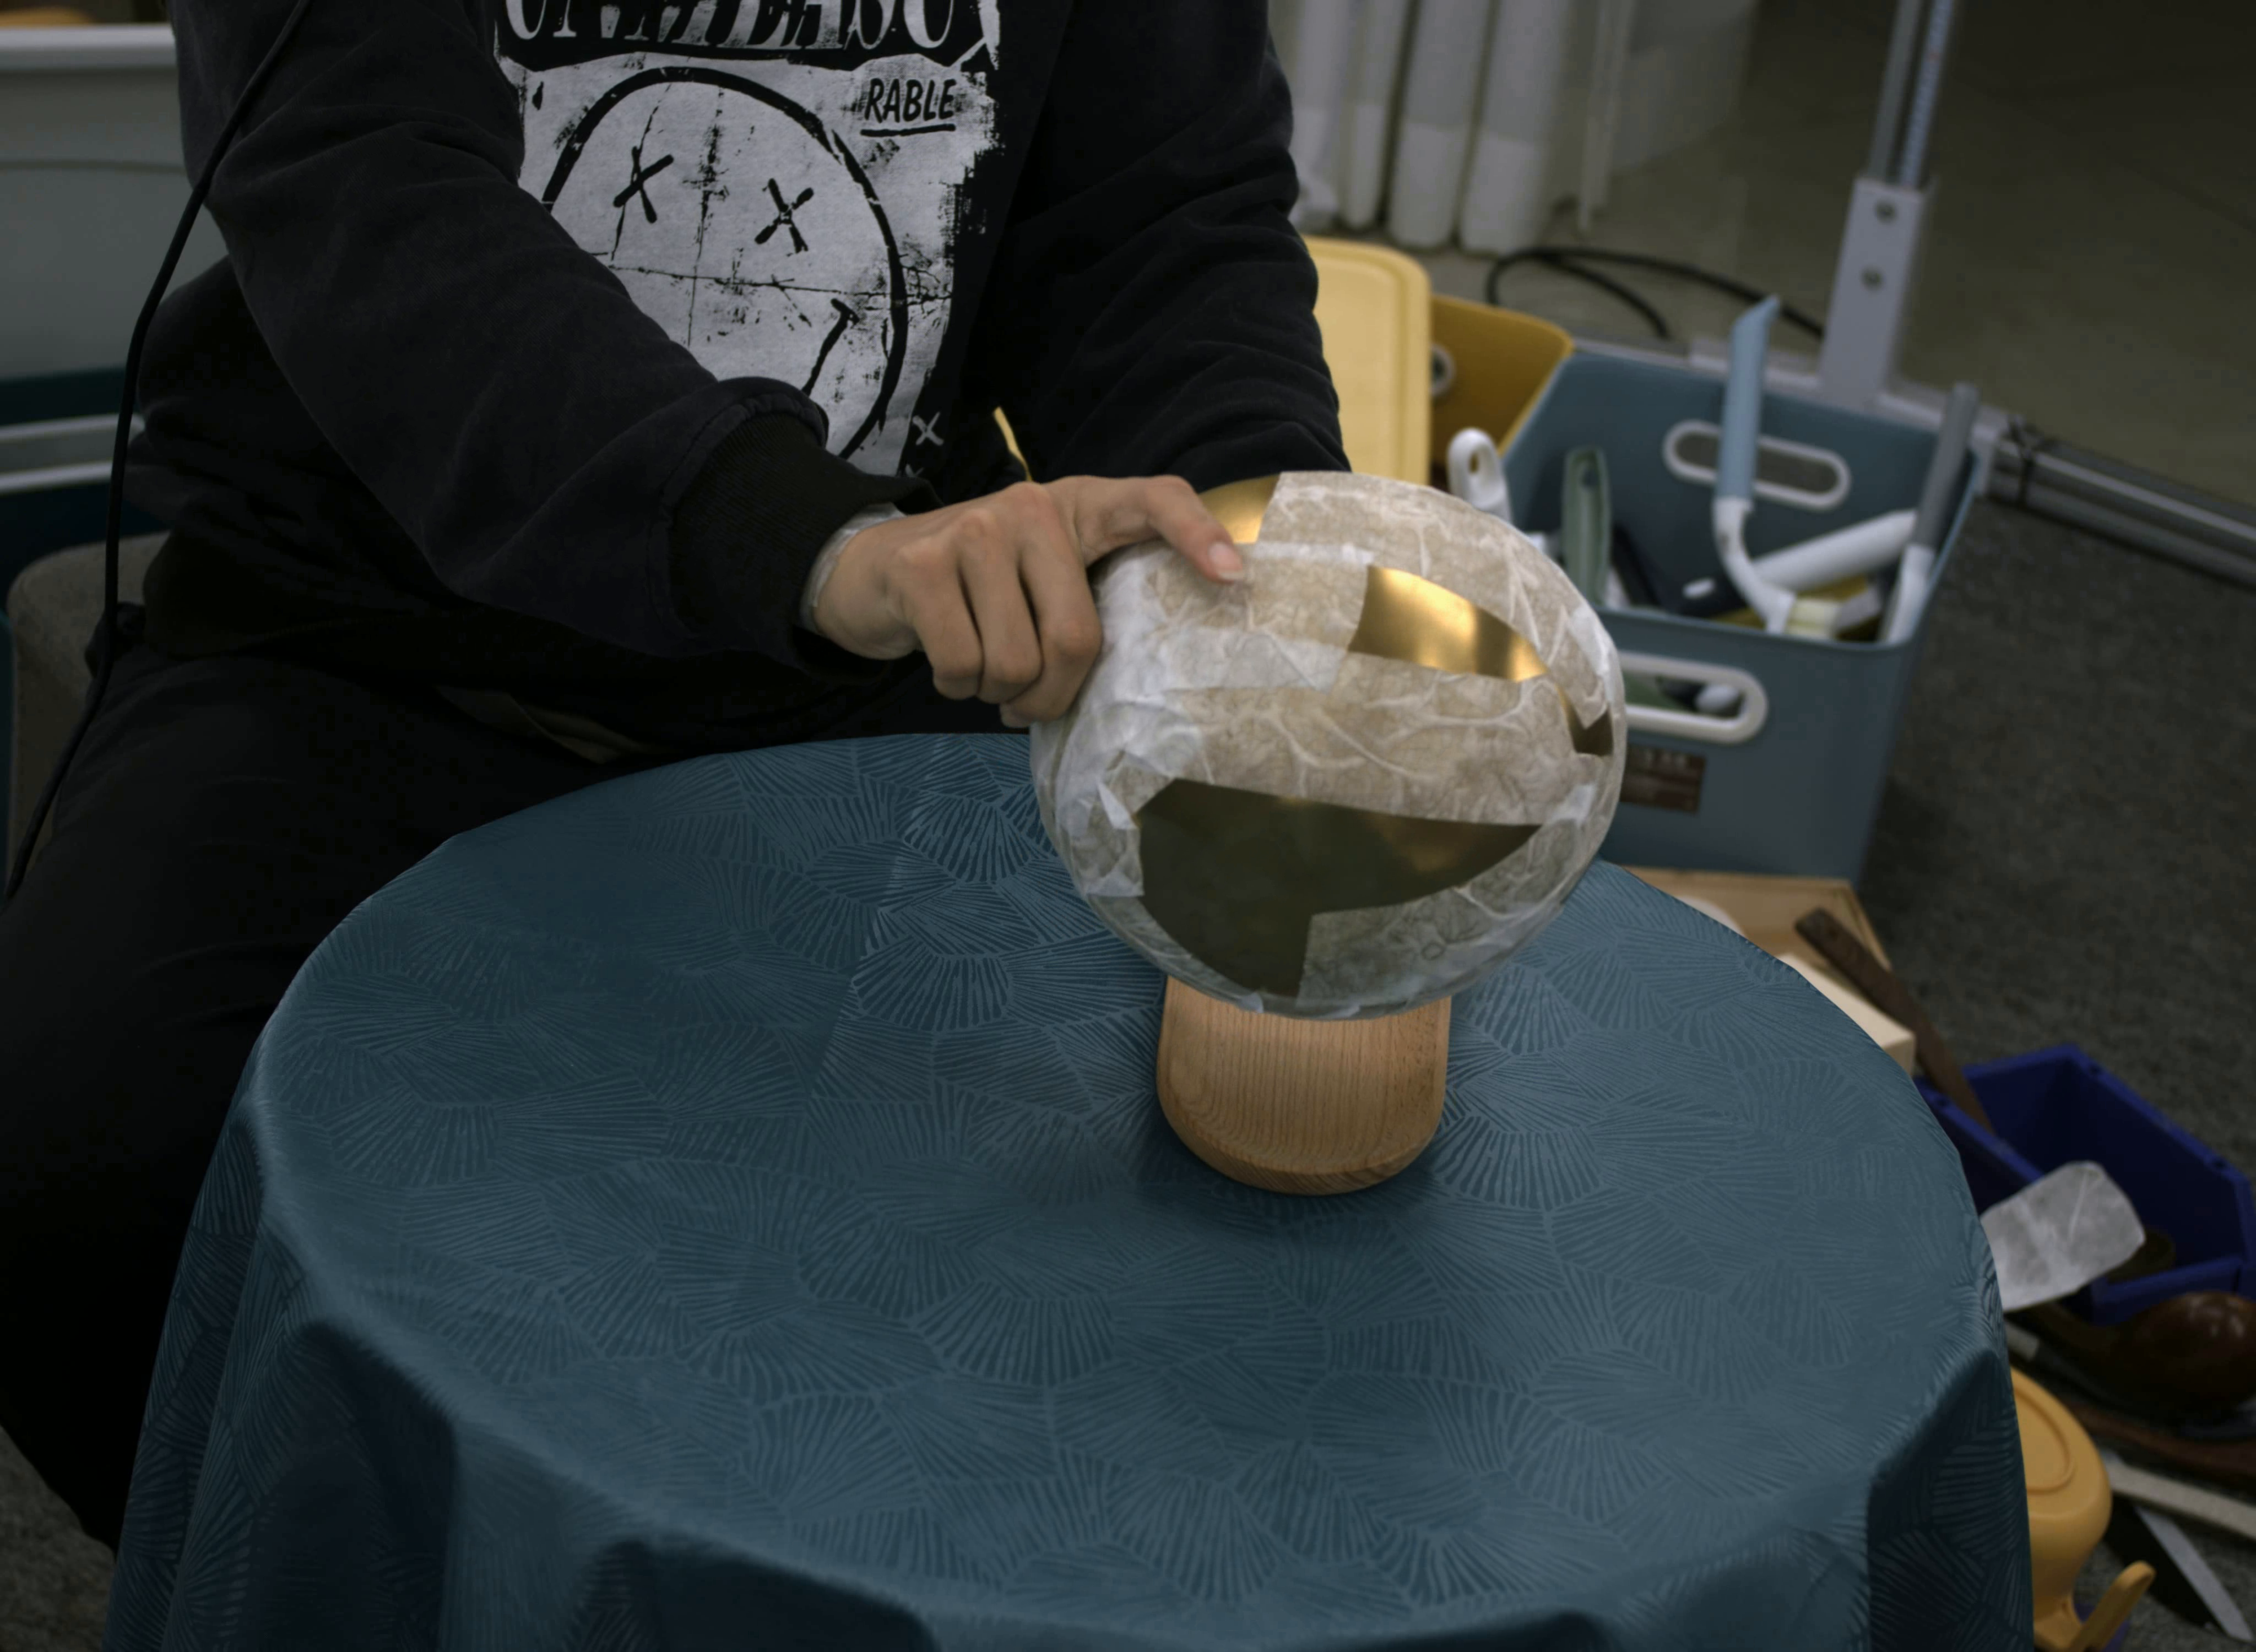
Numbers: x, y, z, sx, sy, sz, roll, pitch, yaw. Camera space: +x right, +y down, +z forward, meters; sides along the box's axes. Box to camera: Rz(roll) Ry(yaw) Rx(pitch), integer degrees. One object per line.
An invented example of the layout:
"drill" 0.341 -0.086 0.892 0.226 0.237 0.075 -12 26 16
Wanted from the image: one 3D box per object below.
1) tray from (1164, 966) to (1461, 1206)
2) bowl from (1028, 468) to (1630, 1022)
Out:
"tray" 0.067 0.051 1.888 0.101 0.020 0.233 4 42 2
"bowl" 0.062 -0.006 1.751 0.214 0.214 0.095 8 36 1
